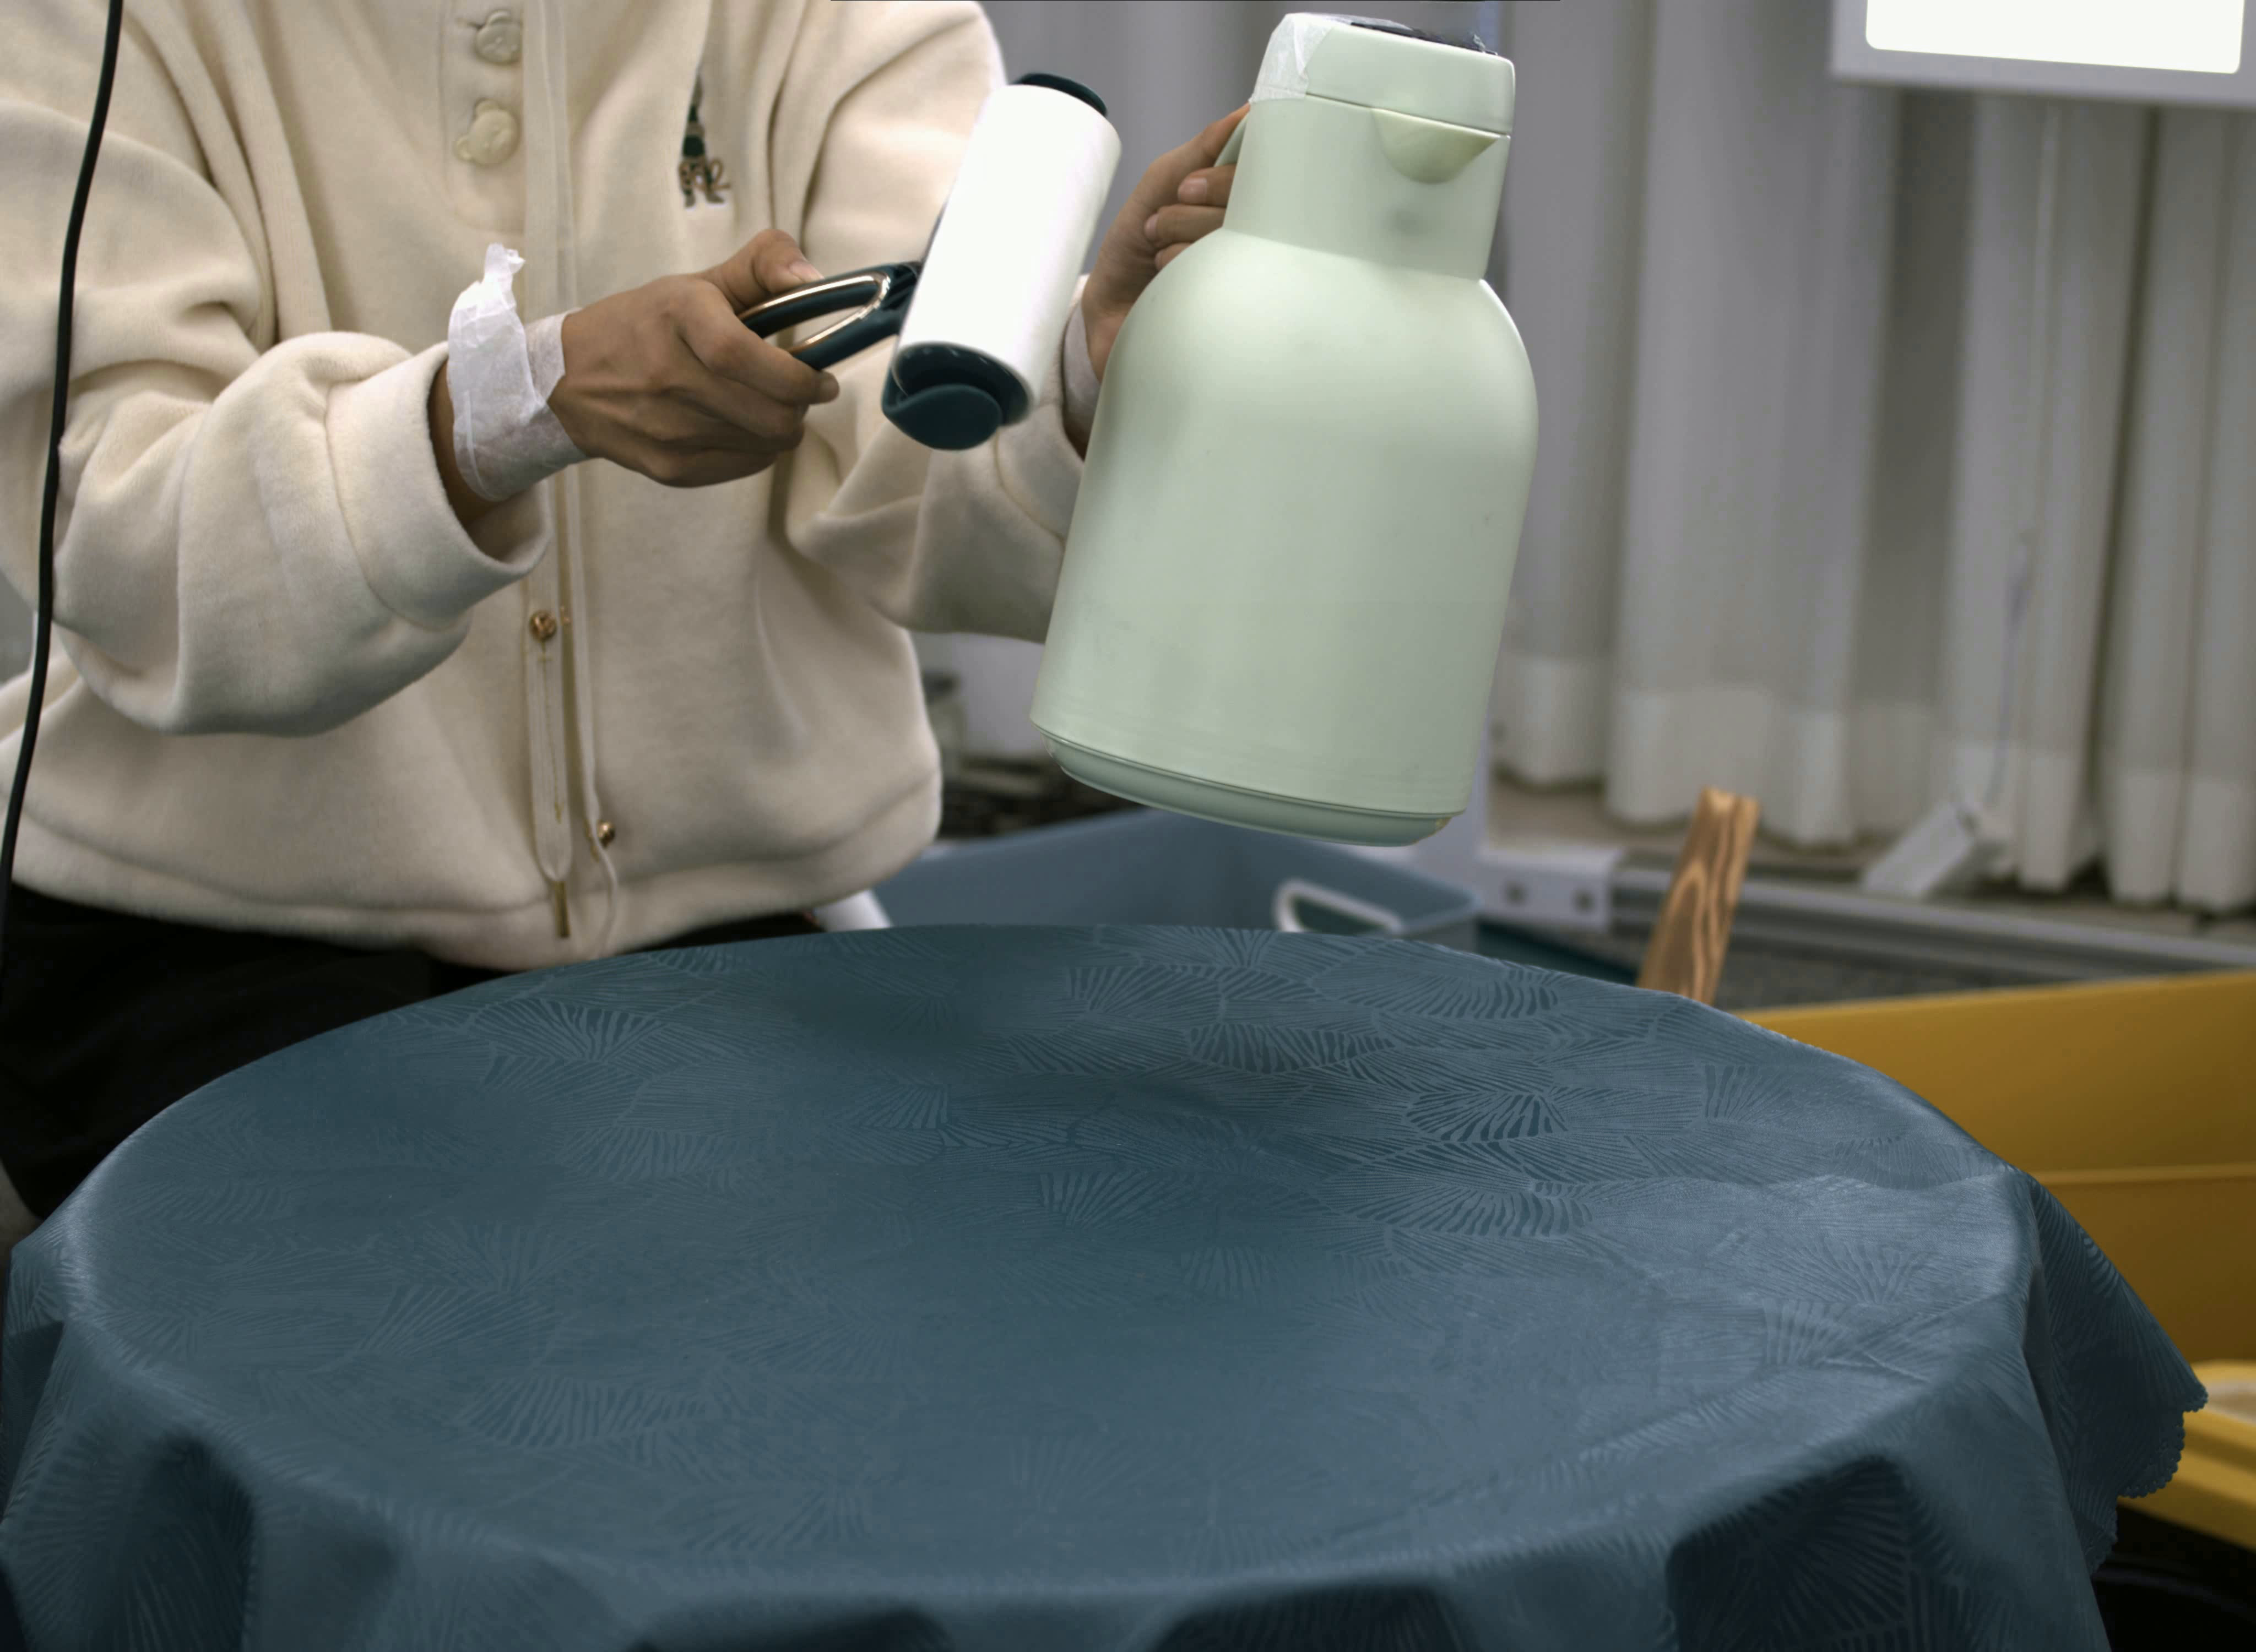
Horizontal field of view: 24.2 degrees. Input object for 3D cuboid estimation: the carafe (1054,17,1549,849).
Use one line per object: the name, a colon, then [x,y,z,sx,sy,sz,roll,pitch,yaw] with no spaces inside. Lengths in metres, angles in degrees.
carafe: [0.059,-0.130,1.698,0.145,0.258,0.185,6,6,-22]

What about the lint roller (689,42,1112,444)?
lint roller: [-0.090,-0.173,1.682,0.178,0.134,0.049,-8,-37,41]
